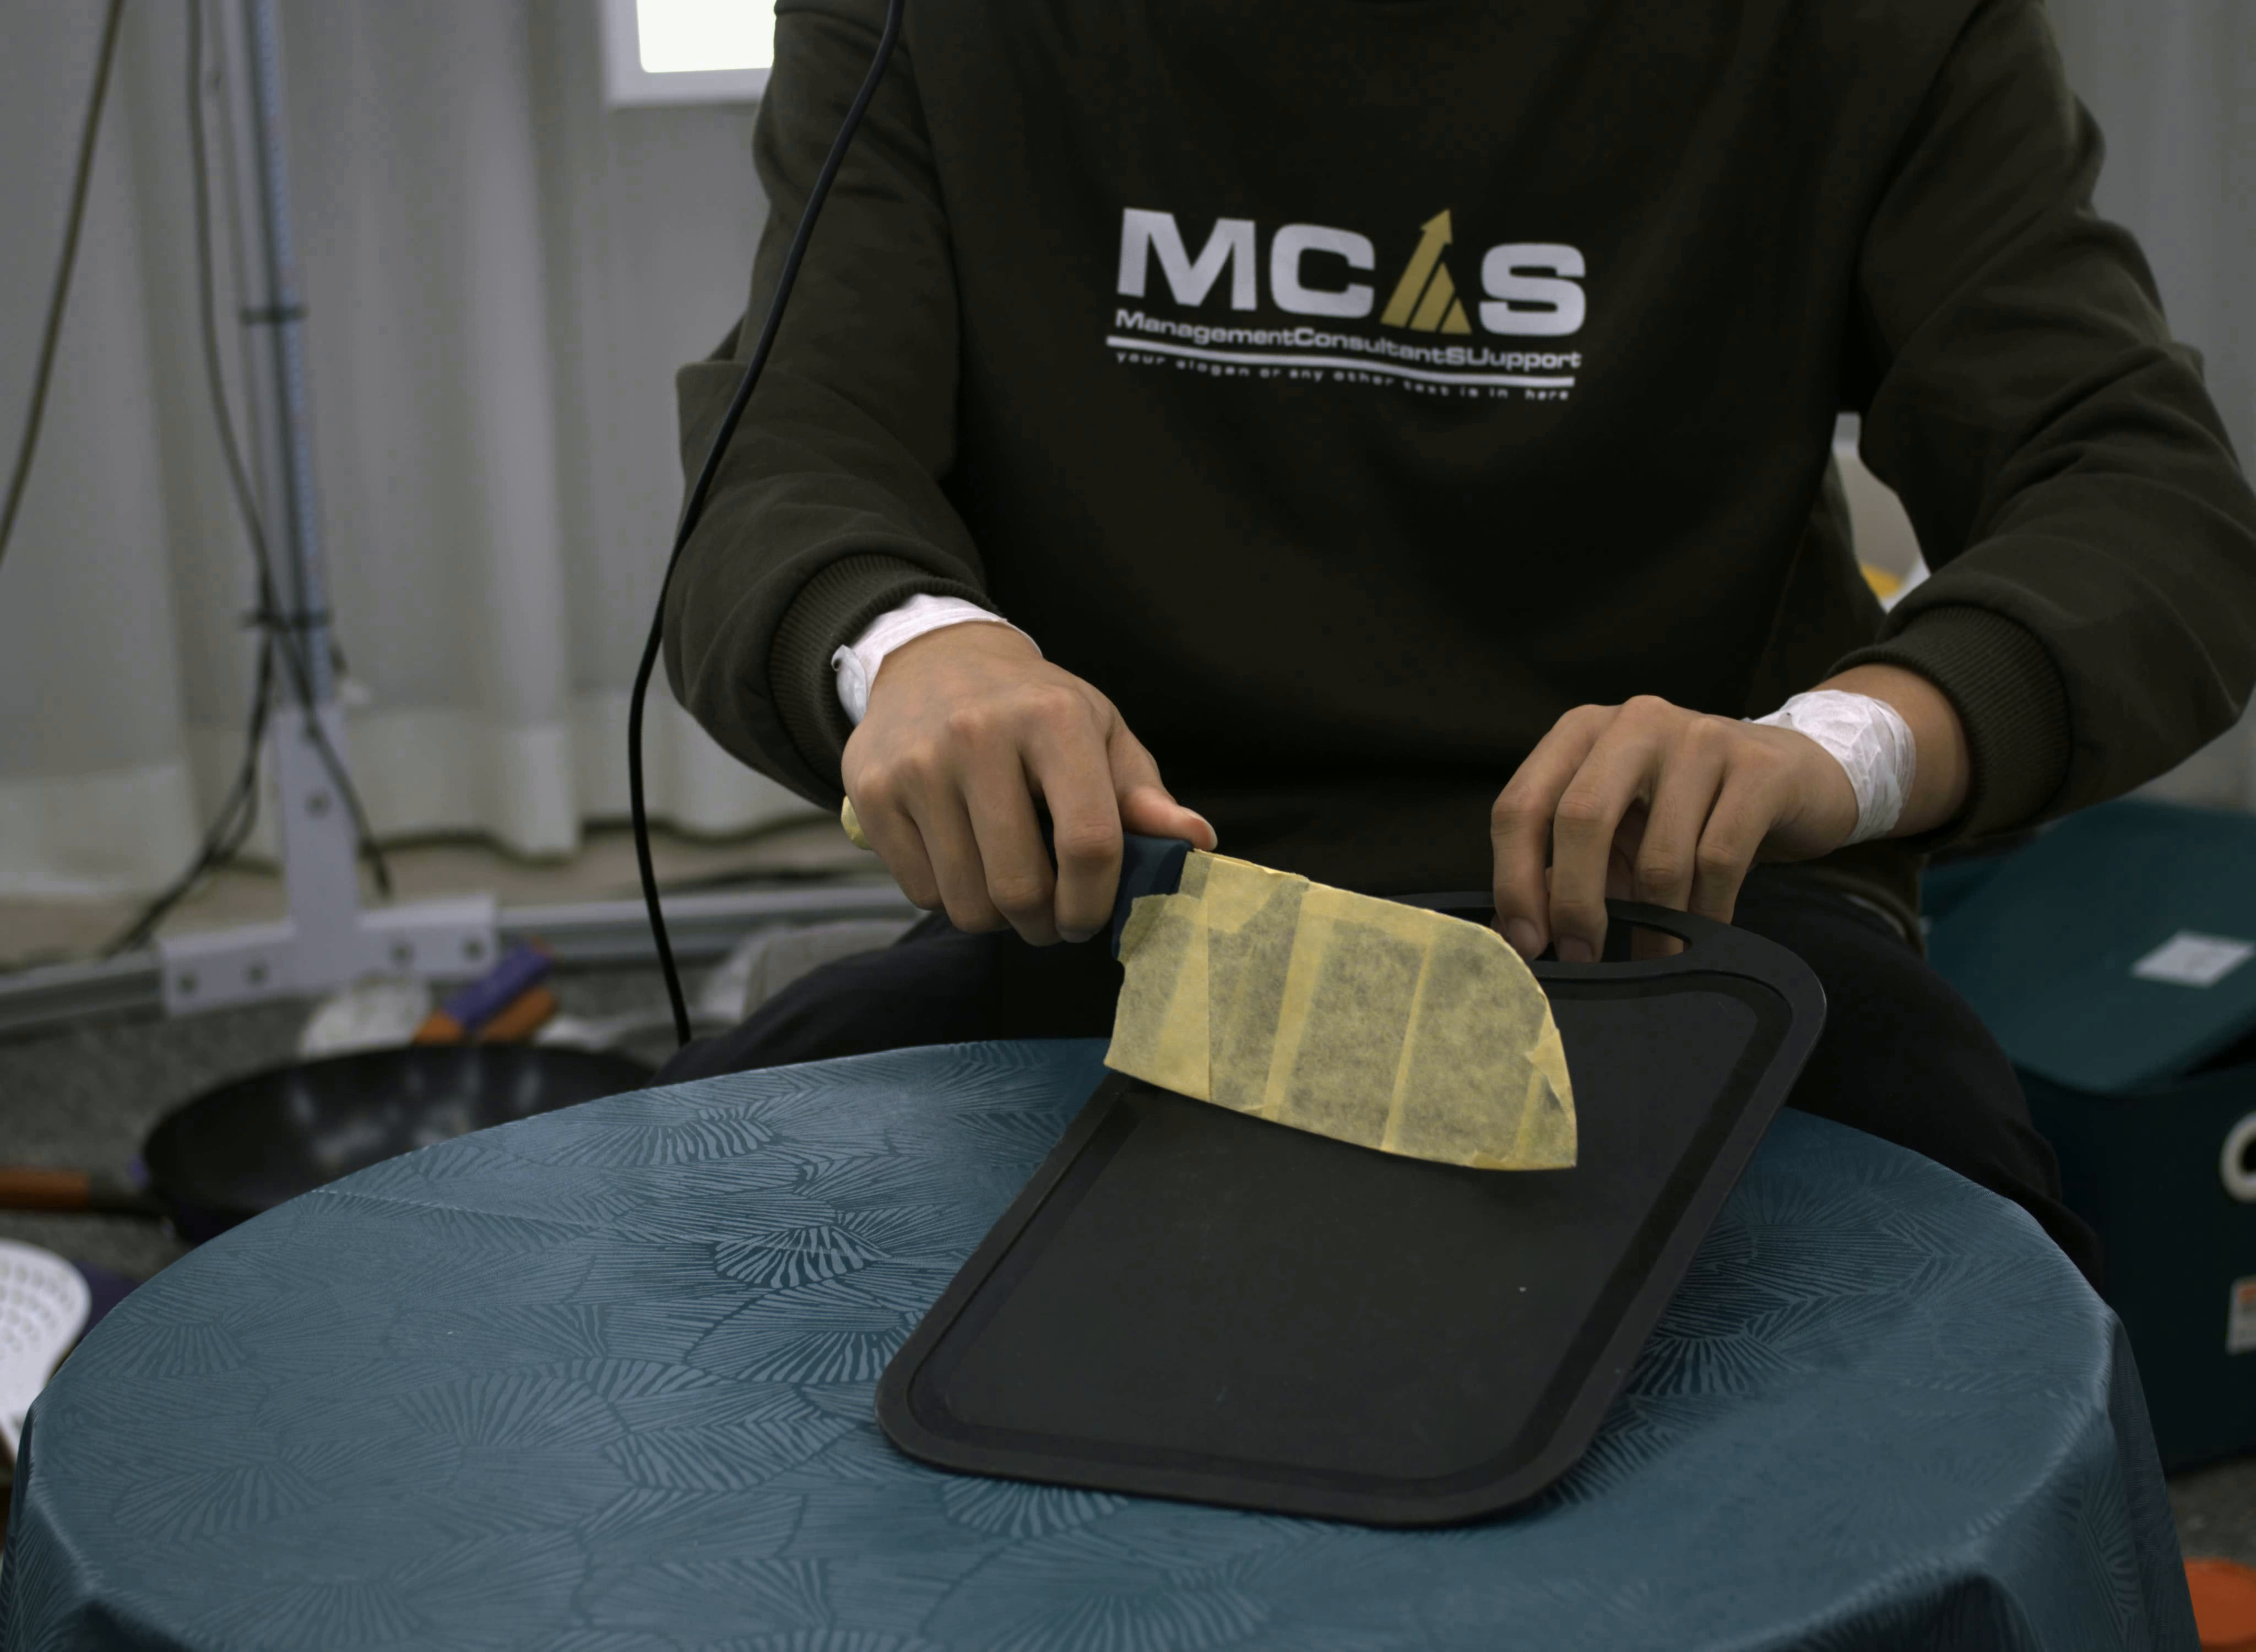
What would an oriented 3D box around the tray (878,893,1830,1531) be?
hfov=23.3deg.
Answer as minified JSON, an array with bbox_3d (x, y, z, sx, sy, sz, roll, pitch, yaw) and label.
[{"bbox_3d":[0.073,0.100,1.589,0.211,0.010,0.328,4,31,25],"label":"tray"}]

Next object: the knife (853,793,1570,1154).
[{"bbox_3d":[0.020,0.041,1.649,0.291,0.081,0.027,18,2,40],"label":"knife"}]
